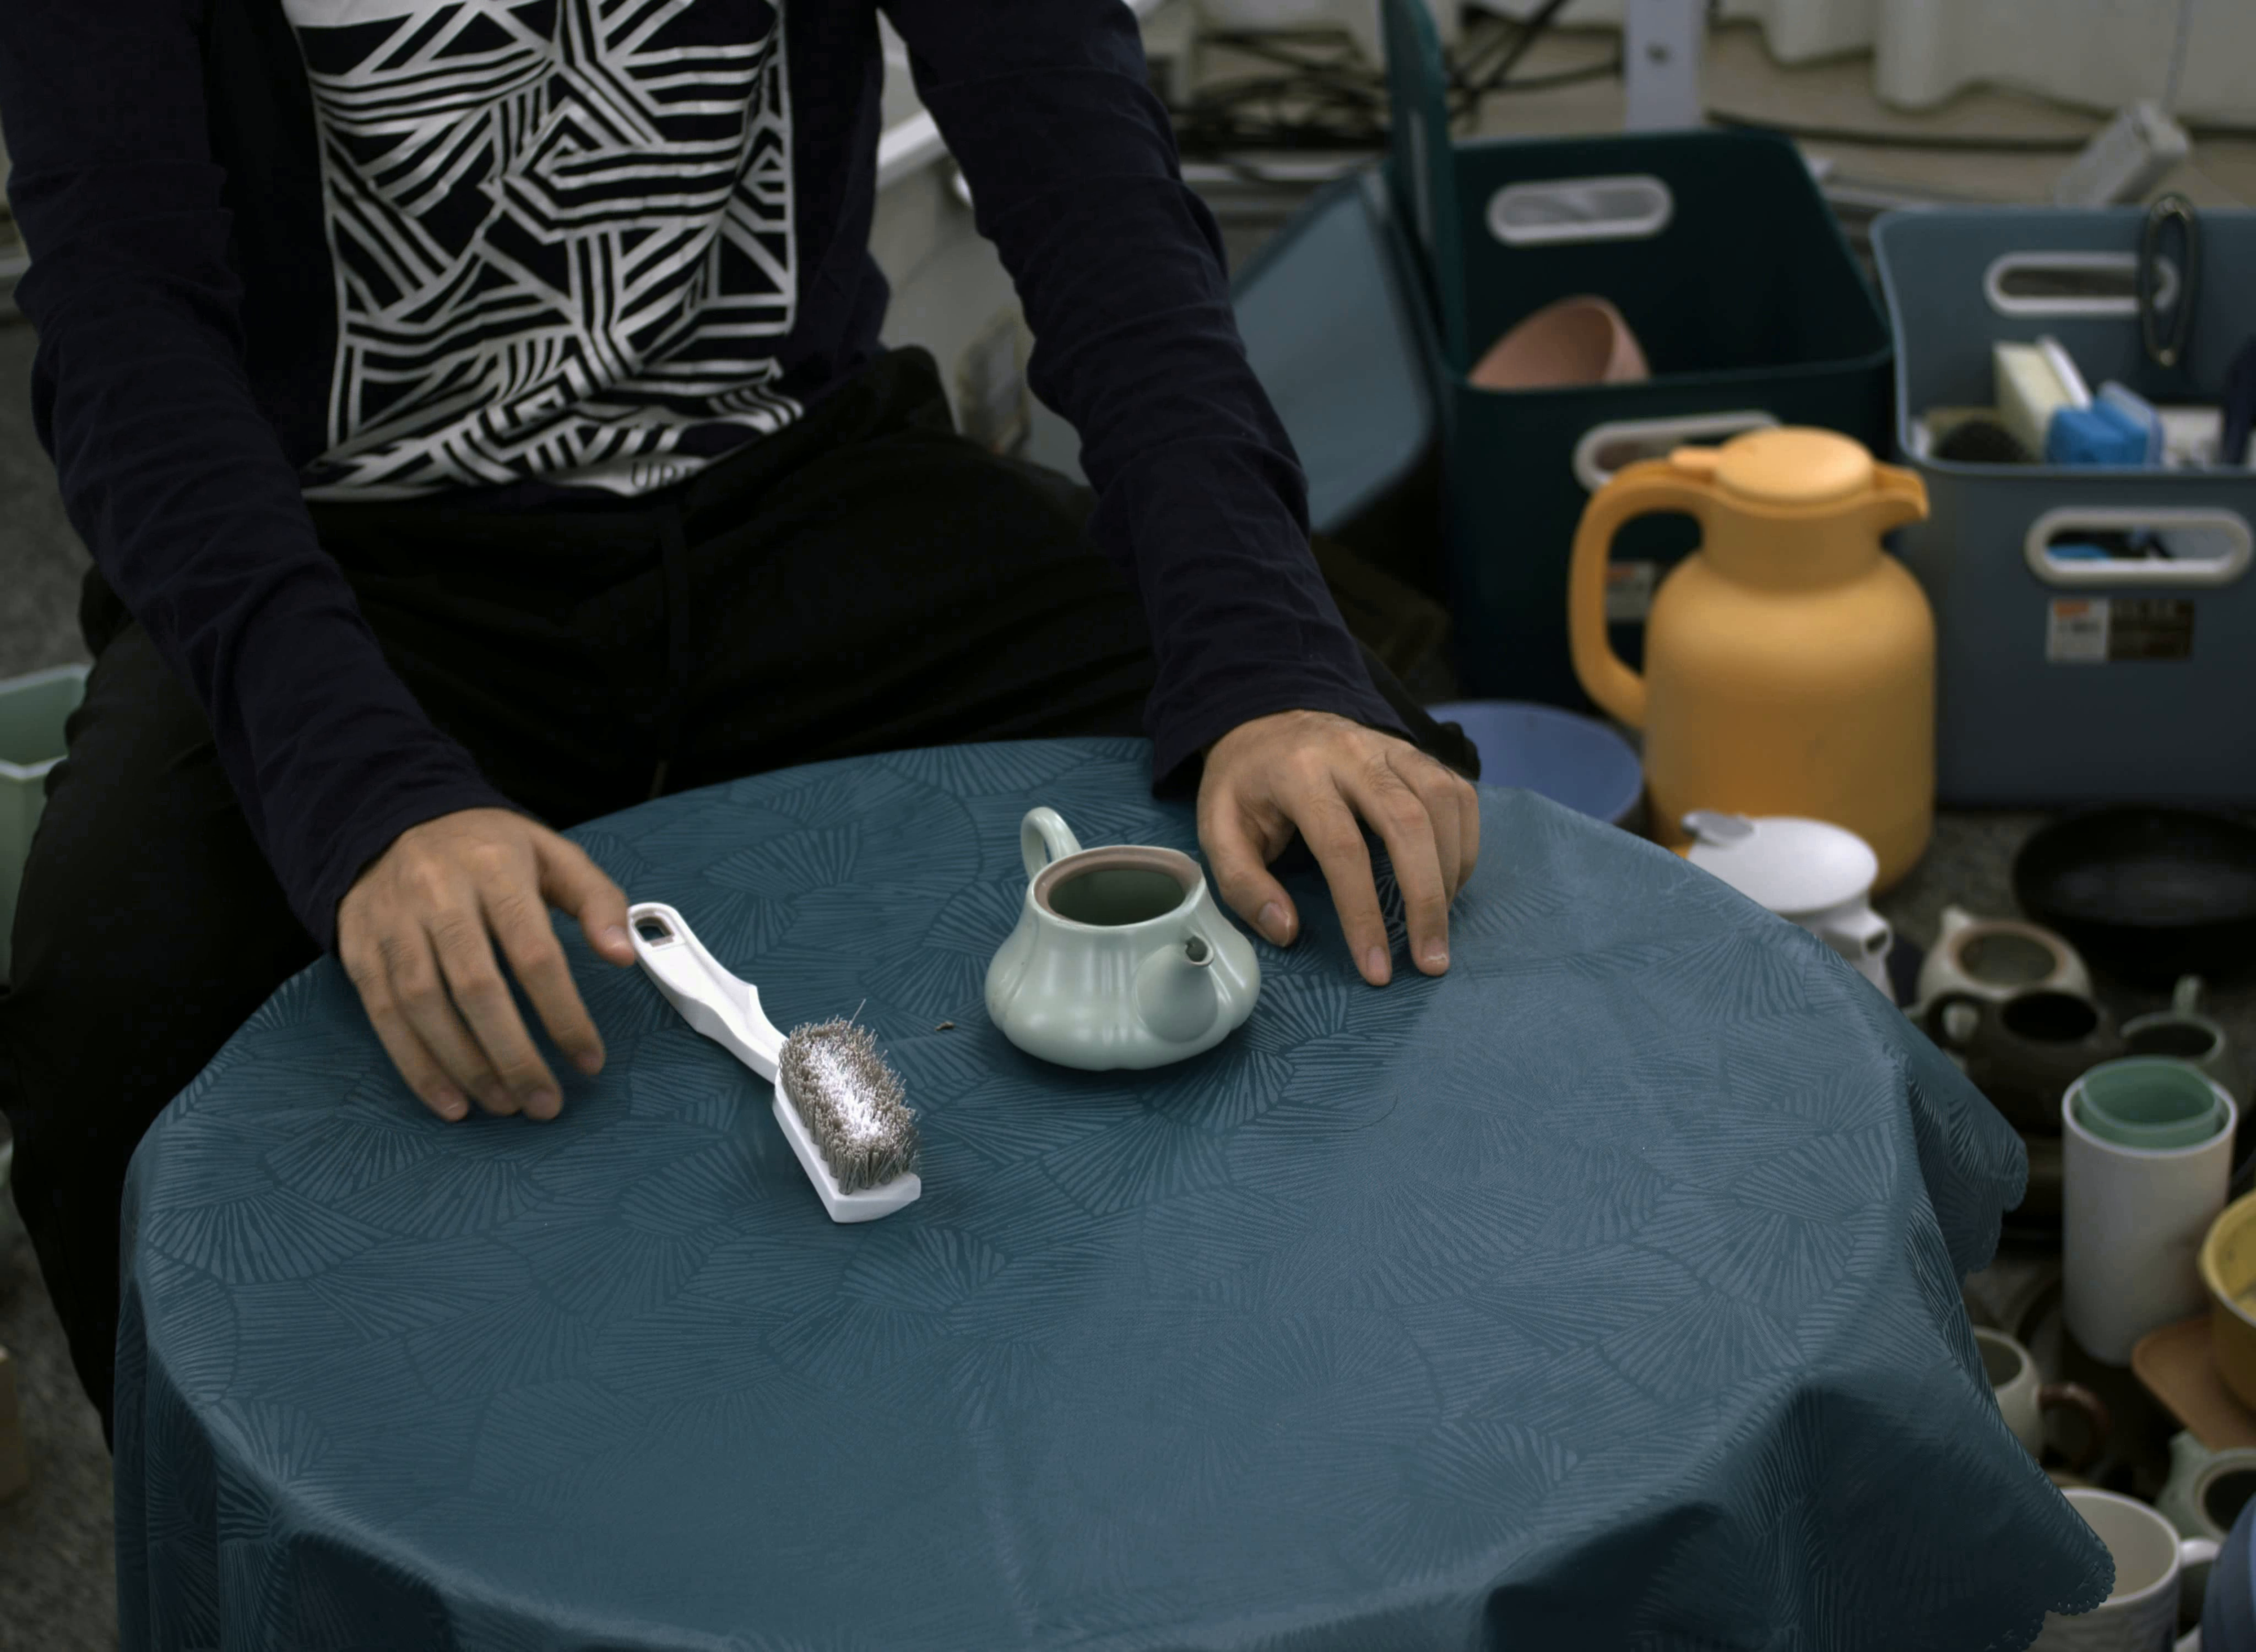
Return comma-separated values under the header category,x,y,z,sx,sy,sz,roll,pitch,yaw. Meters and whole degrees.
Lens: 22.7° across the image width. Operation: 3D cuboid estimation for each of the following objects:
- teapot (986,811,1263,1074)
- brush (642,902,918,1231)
category,x,y,z,sx,sy,sz,roll,pitch,yaw
teapot,-0.005,0.042,1.948,0.097,0.061,0.137,-19,32,-24
brush,-0.125,0.065,1.931,0.034,0.049,0.245,-16,30,-16
